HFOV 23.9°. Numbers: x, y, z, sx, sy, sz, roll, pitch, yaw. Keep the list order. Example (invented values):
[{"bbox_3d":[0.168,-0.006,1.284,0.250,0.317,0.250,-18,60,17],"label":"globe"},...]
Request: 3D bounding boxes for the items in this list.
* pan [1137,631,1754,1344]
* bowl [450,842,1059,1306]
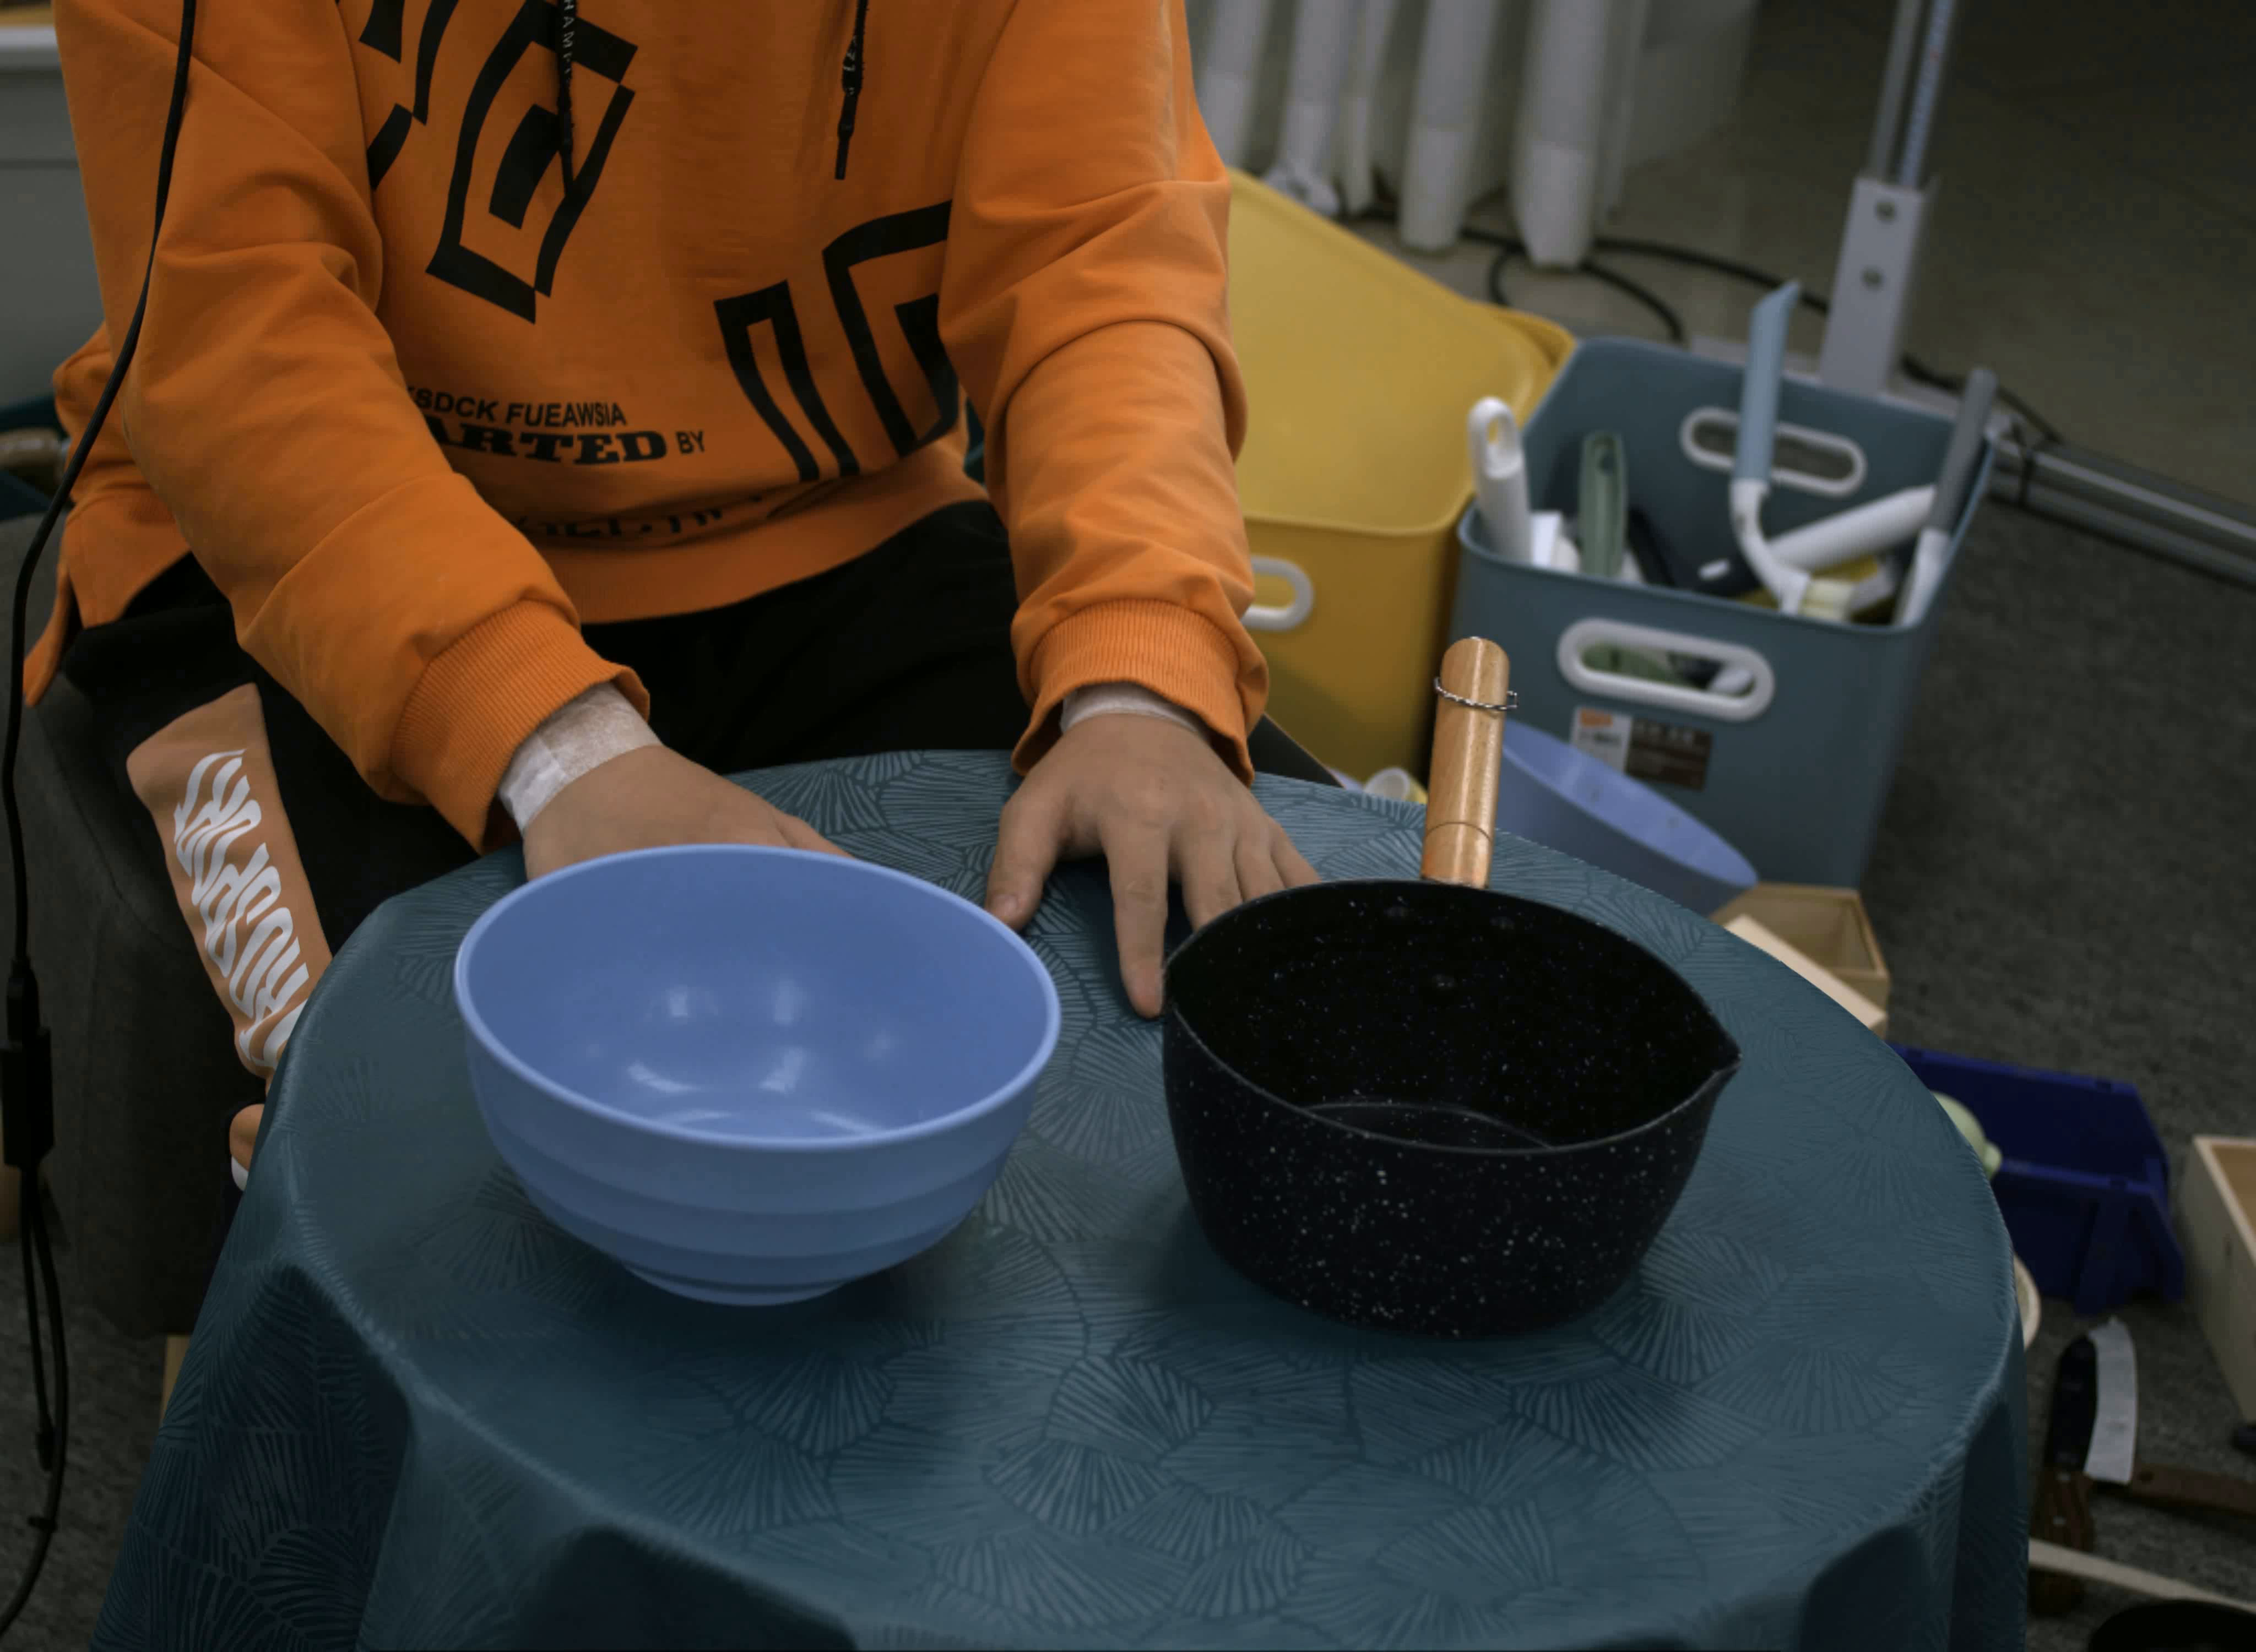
[{"bbox_3d":[0.108,0.052,1.849,0.207,0.108,0.344,6,28,2],"label":"pan"},{"bbox_3d":[-0.124,0.092,1.732,0.196,0.095,0.198,5,28,-3],"label":"bowl"}]
